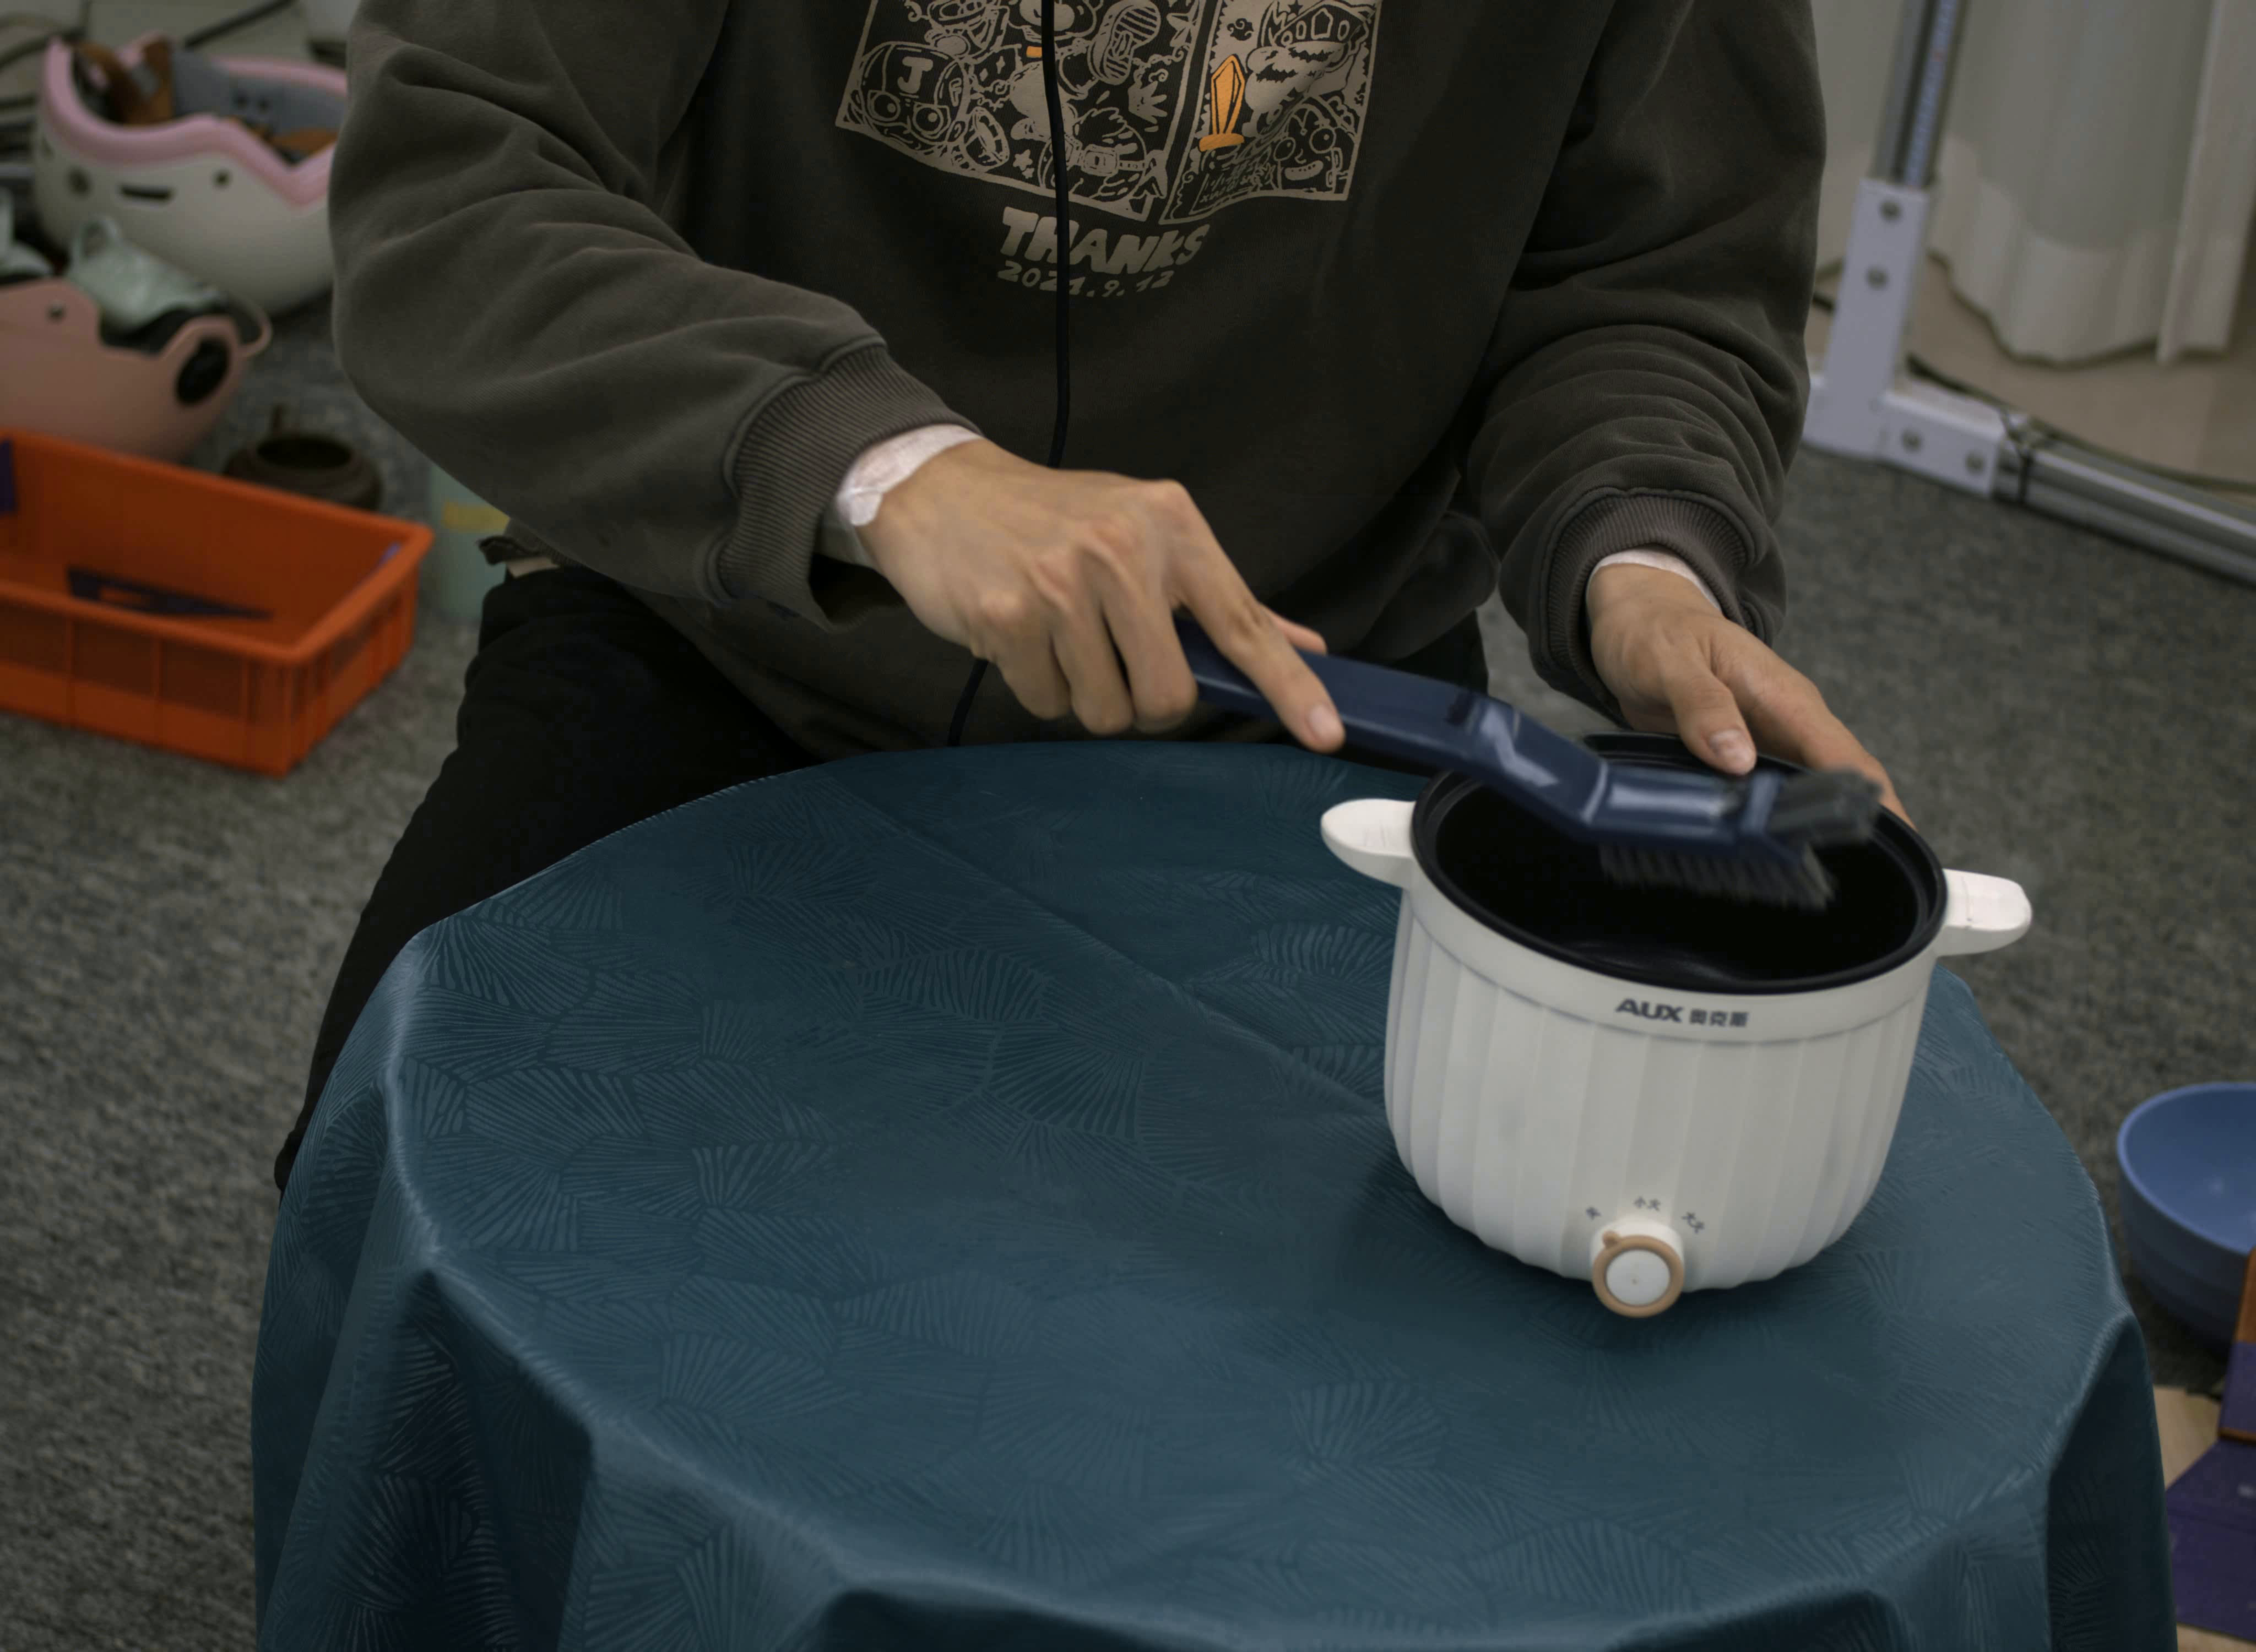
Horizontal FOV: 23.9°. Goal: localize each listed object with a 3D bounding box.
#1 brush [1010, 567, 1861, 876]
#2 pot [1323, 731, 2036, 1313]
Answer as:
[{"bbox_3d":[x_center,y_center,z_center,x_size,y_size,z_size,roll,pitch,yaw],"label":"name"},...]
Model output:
[{"bbox_3d":[0.094,-0.041,1.692,0.273,0.095,0.033,19,61,8],"label":"brush"},{"bbox_3d":[0.178,0.069,1.797,0.240,0.142,0.191,6,23,1],"label":"pot"}]
